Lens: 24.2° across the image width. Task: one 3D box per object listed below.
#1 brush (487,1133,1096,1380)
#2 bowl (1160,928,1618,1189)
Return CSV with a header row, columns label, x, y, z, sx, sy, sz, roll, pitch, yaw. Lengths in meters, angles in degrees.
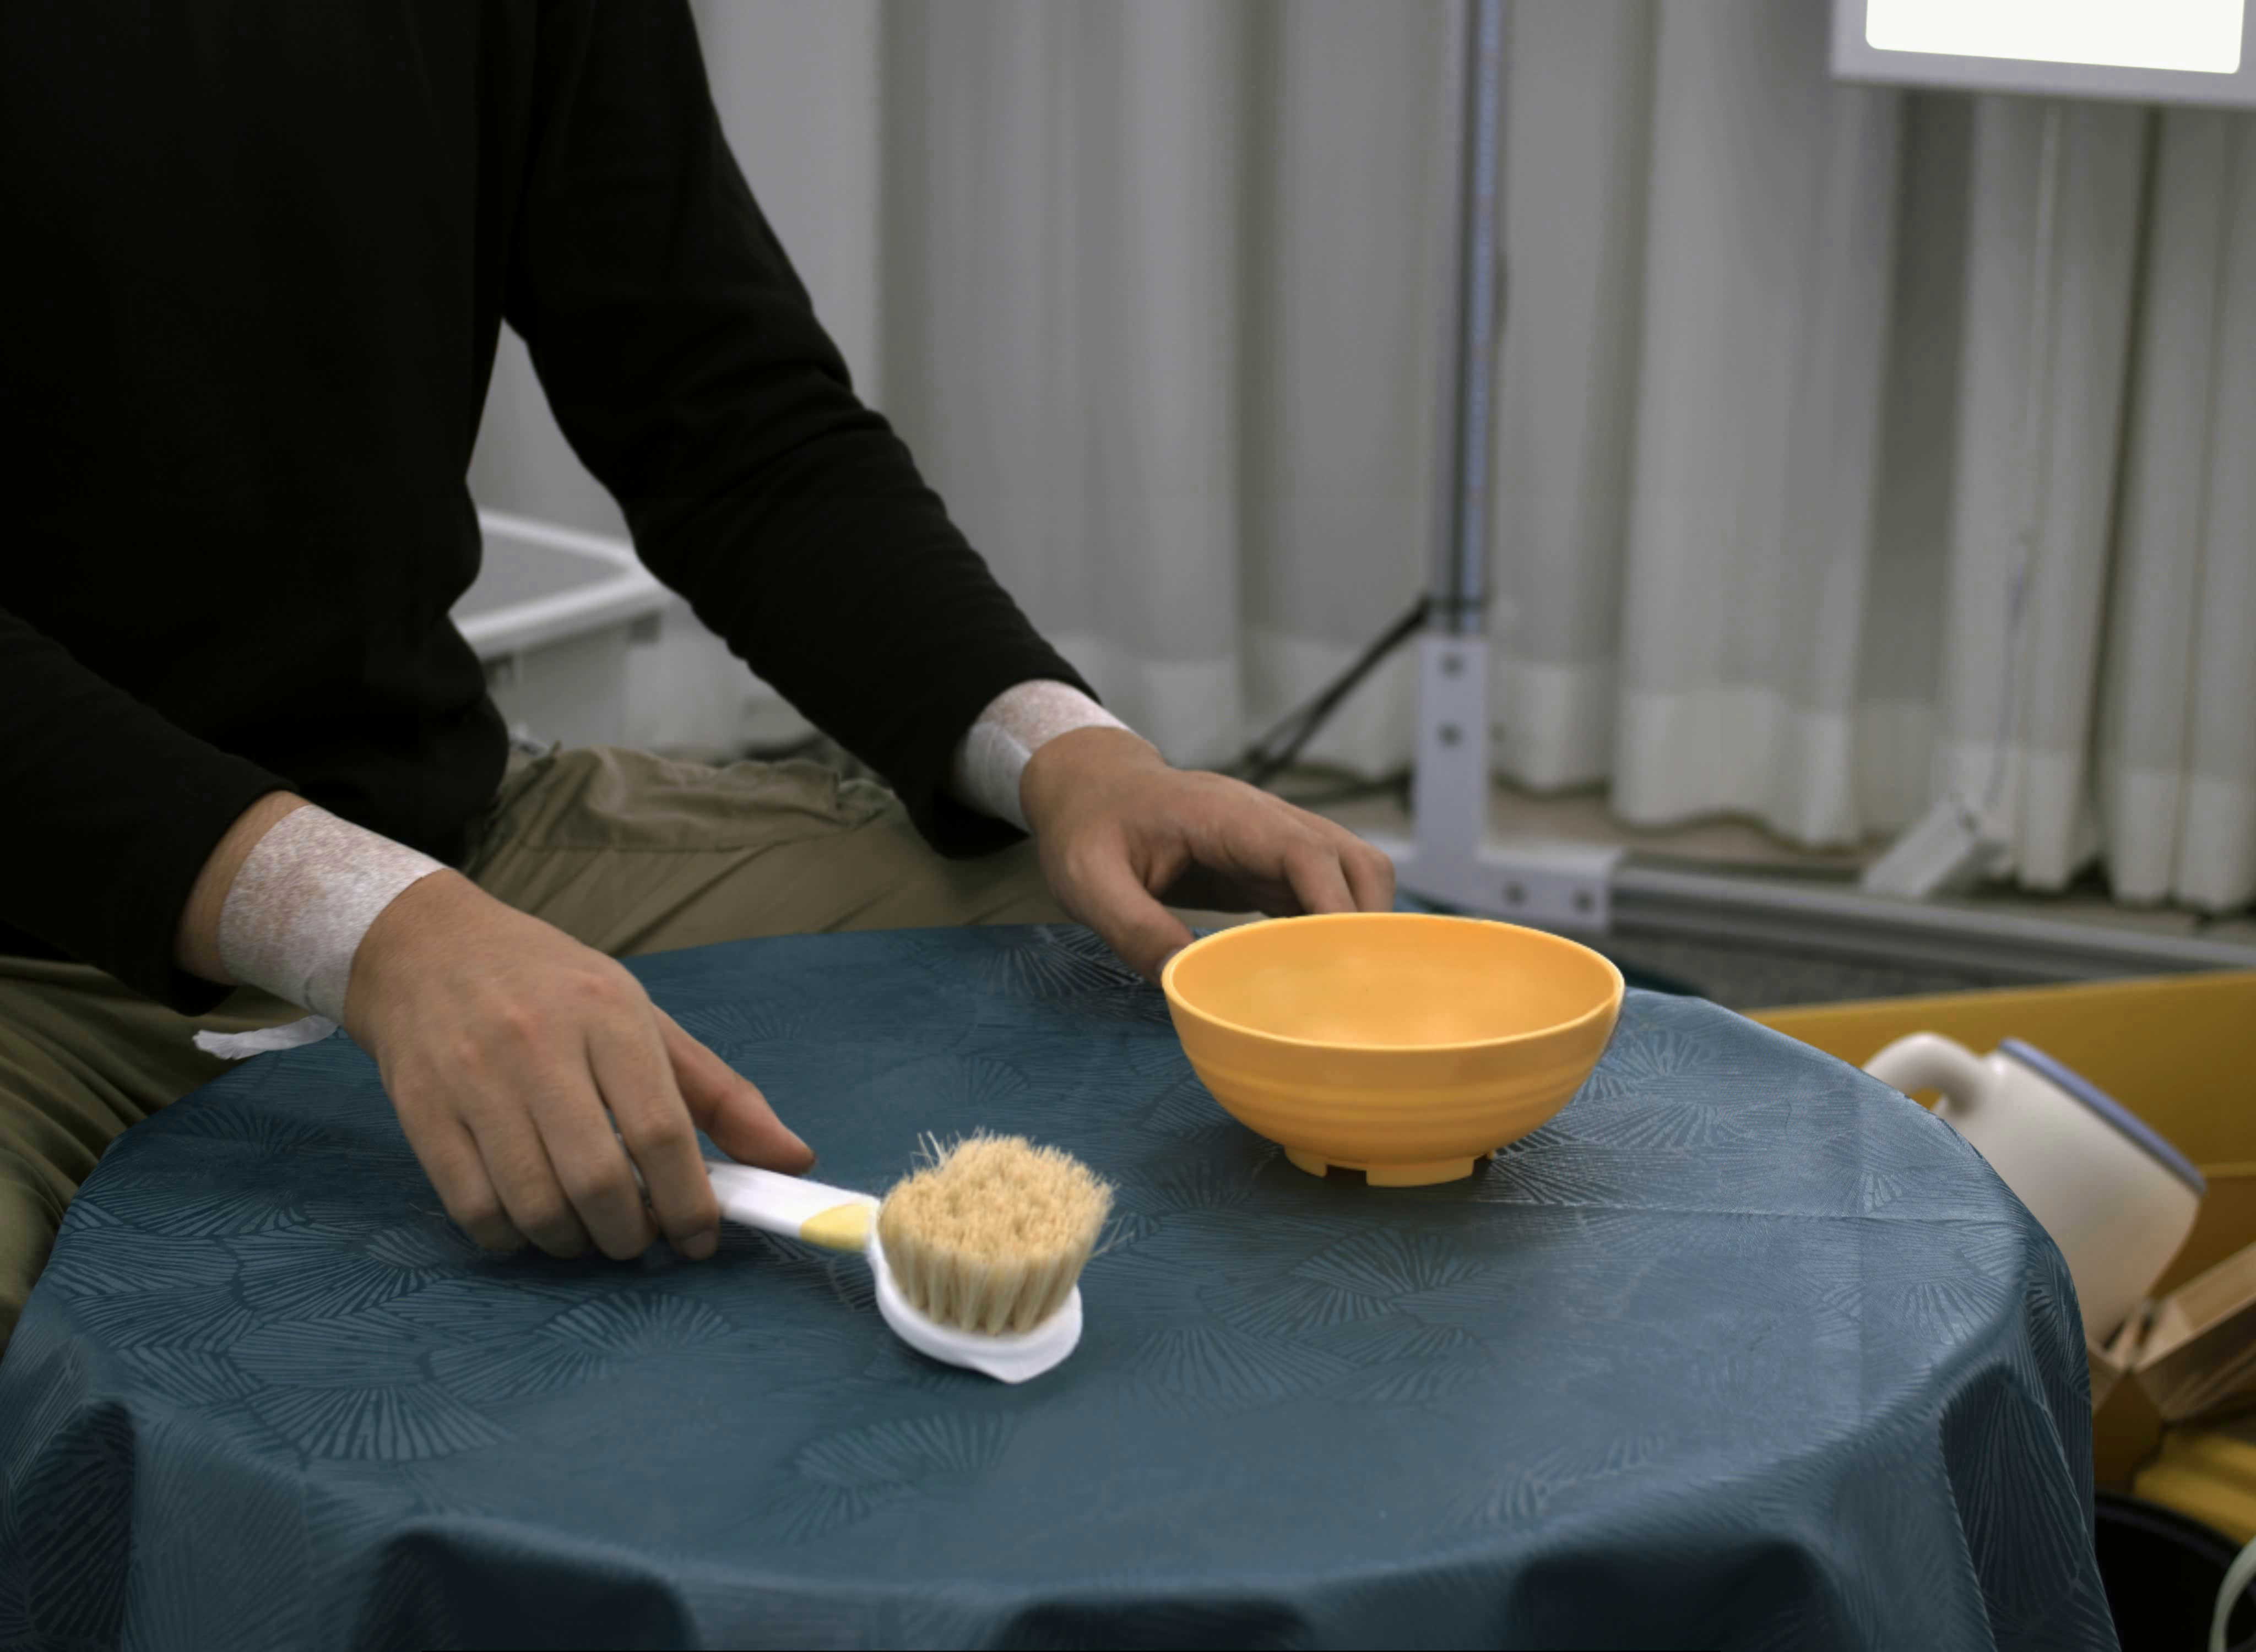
label,x,y,z,sx,sy,sz,roll,pitch,yaw
brush,-0.109,0.103,1.552,0.069,0.056,0.263,-8,16,-40
bowl,0.081,0.076,1.648,0.145,0.060,0.144,0,13,0
